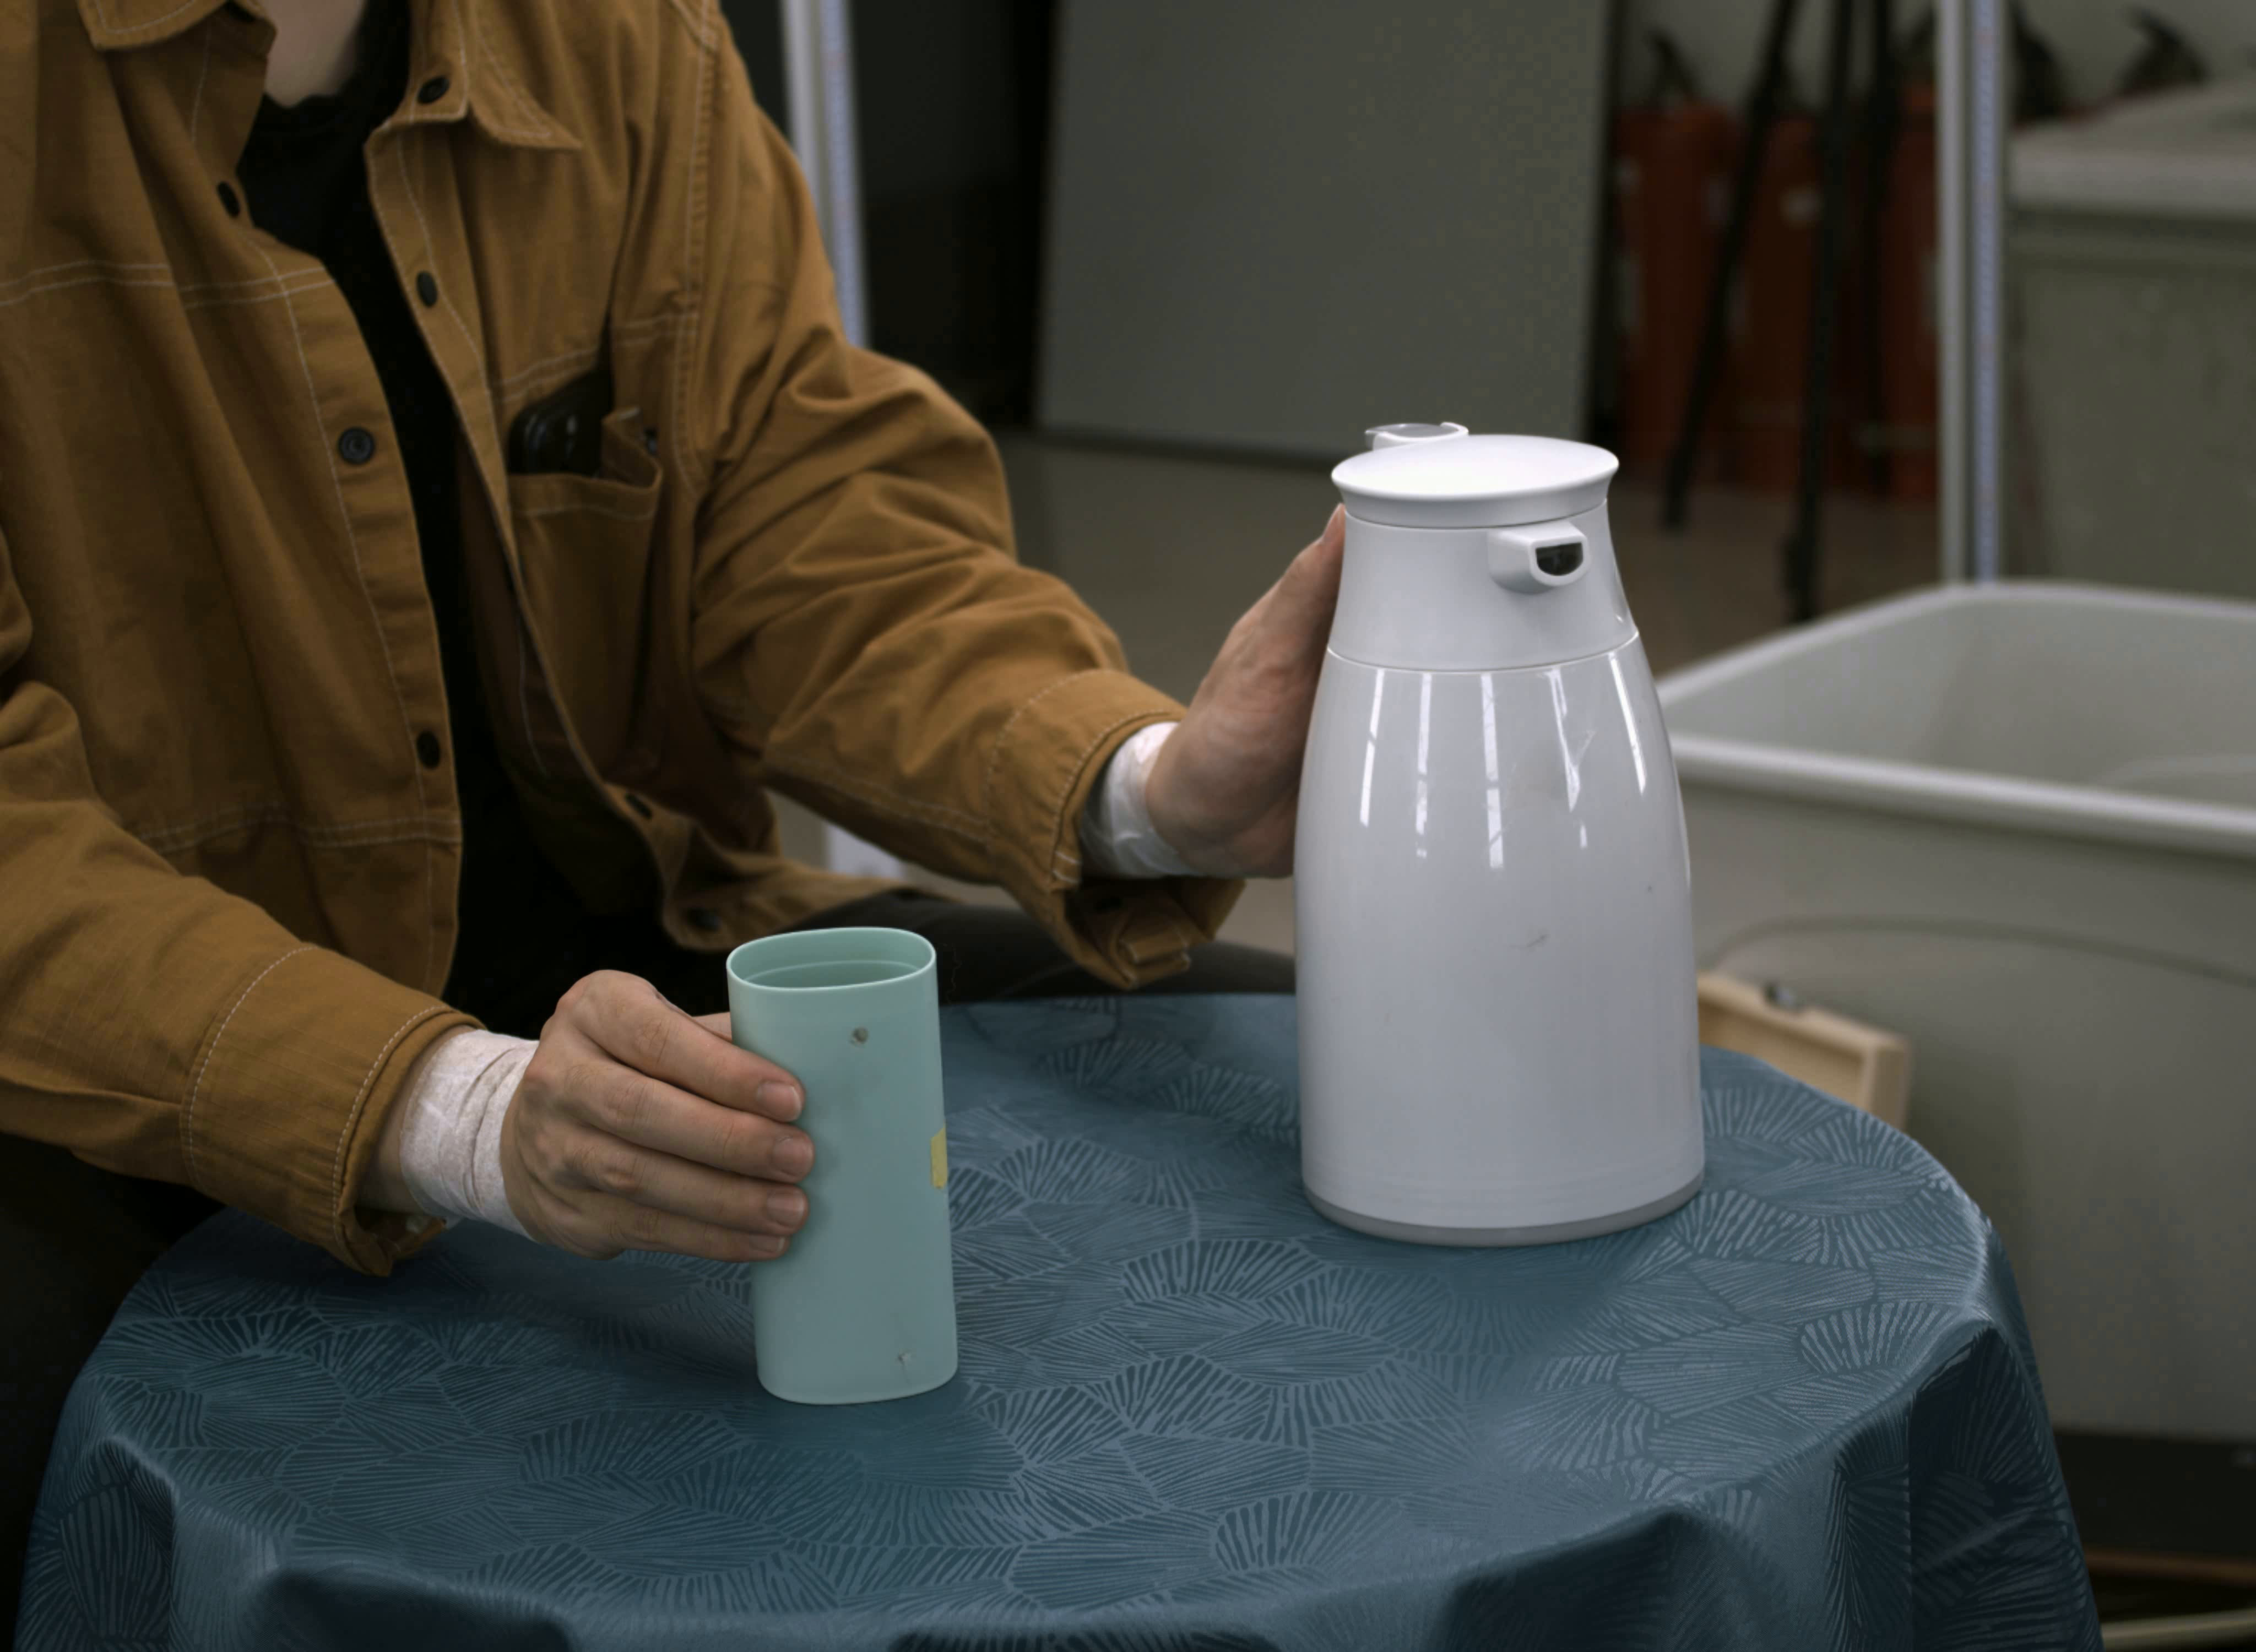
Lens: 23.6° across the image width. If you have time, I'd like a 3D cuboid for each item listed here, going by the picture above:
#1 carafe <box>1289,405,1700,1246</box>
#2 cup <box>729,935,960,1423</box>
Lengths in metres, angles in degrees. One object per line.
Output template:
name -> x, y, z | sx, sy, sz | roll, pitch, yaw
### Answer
carafe -> 0.106, -0.008, 1.744 | 0.130, 0.251, 0.169 | -9, 14, -20
cup -> -0.085, 0.104, 1.608 | 0.066, 0.134, 0.067 | -3, 14, 0
